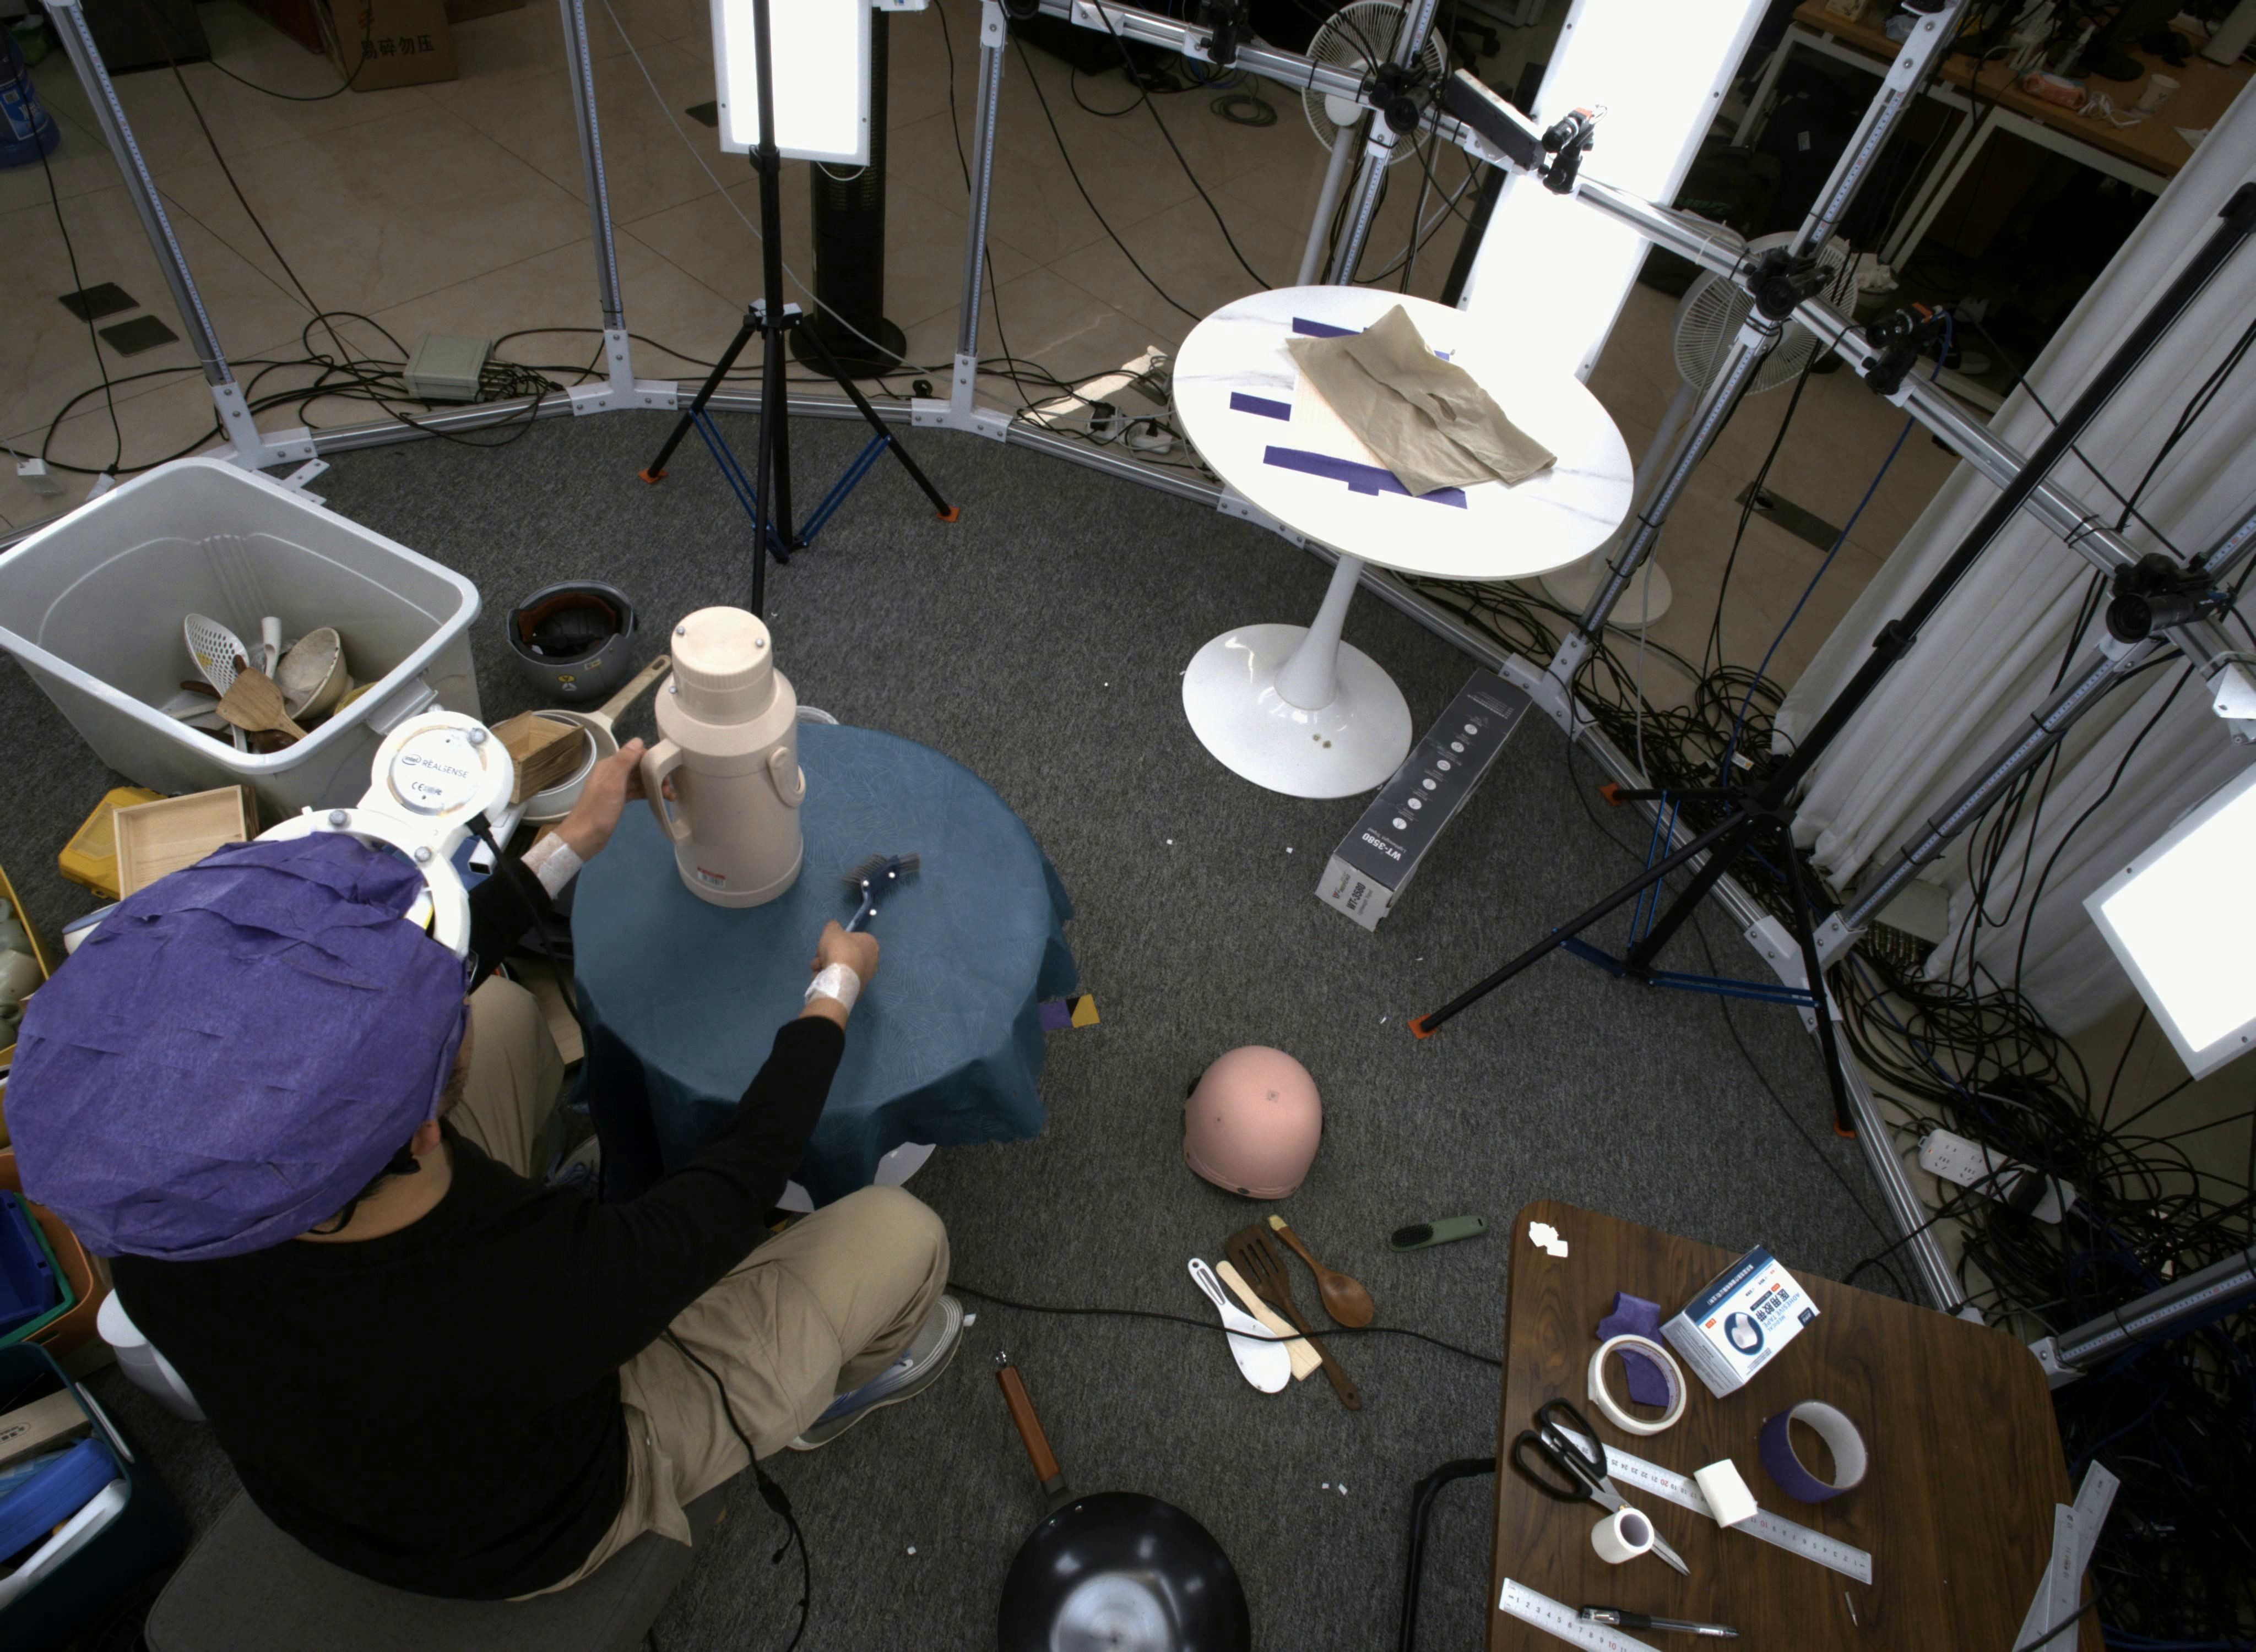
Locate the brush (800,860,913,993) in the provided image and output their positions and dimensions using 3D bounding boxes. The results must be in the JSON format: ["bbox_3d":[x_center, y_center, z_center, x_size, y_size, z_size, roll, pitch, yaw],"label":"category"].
[{"bbox_3d":[-0.334,0.111,1.587,0.095,0.034,0.268,10,31,-3],"label":"brush"}]

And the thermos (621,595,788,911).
[{"bbox_3d":[-0.496,-0.074,1.498,0.172,0.414,0.207,34,53,13],"label":"thermos"}]
